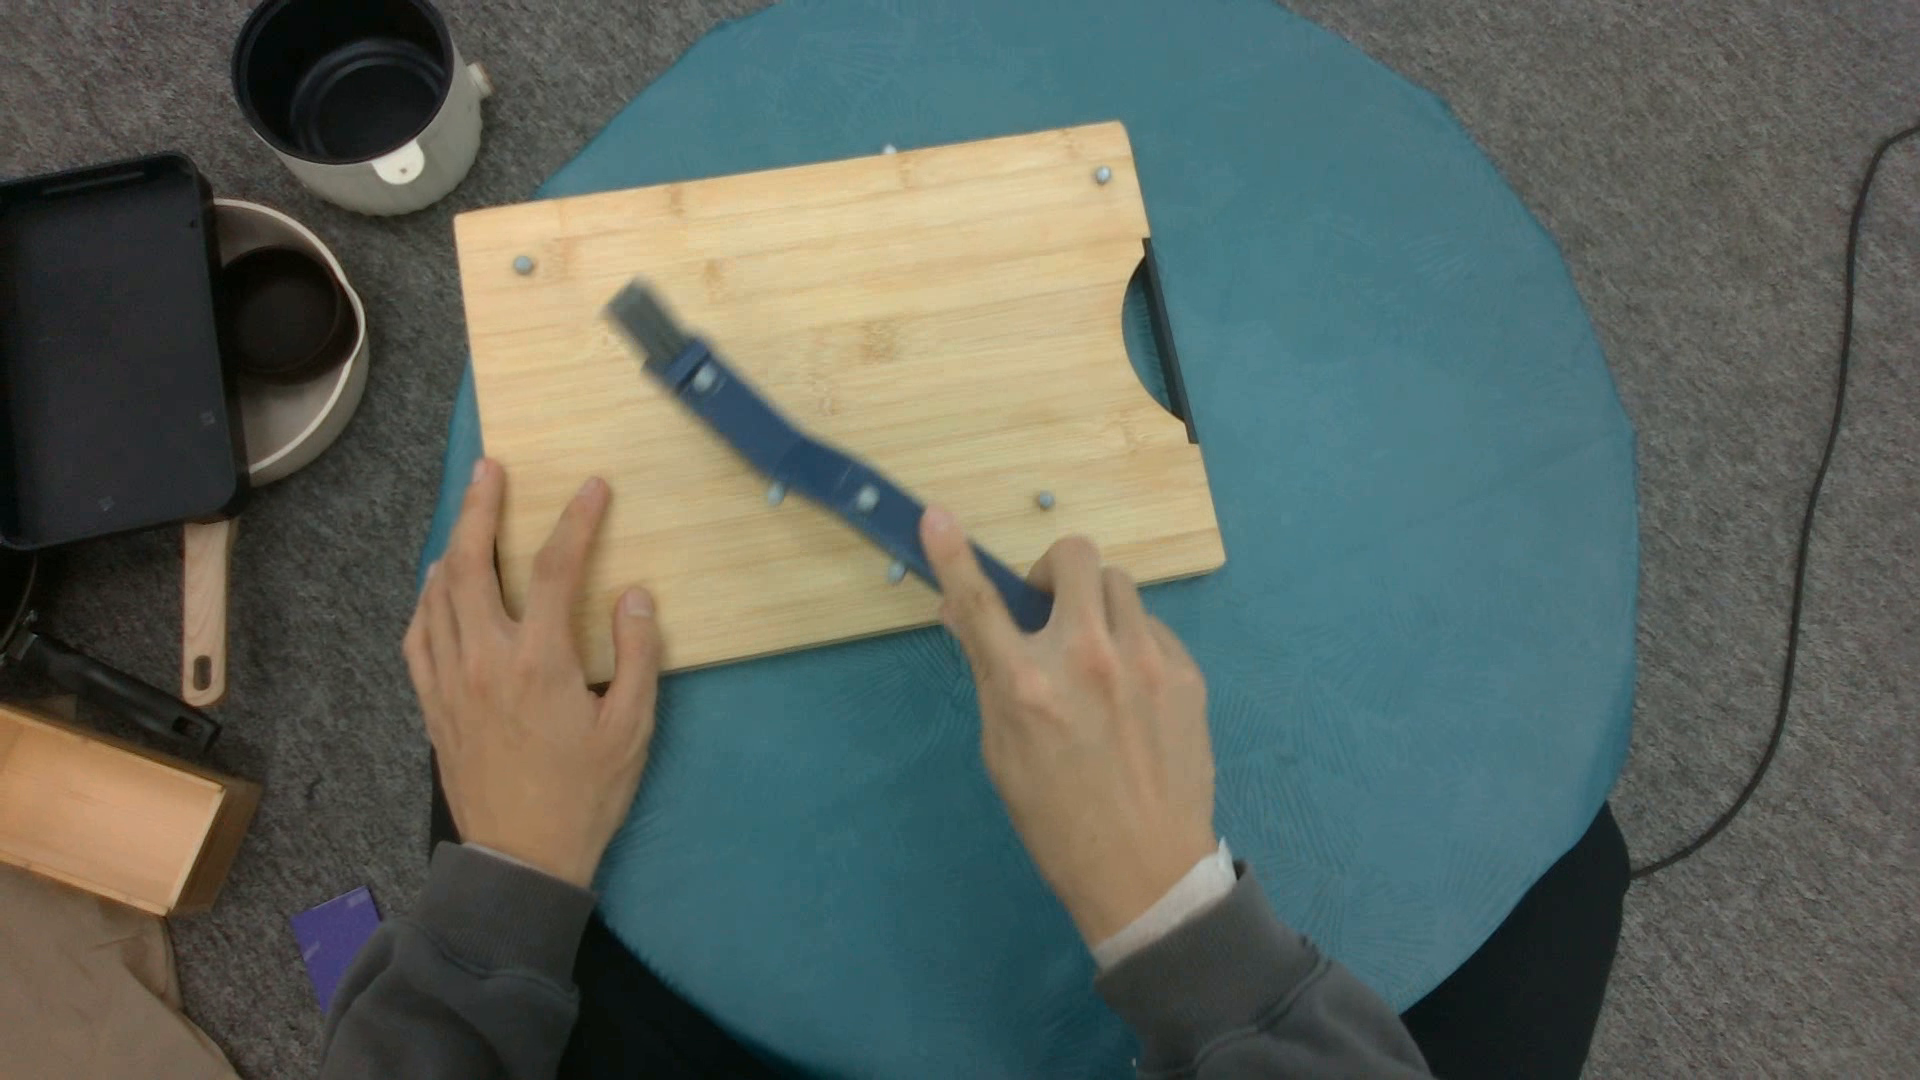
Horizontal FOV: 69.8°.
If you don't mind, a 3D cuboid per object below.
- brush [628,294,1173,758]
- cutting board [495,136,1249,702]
[{"bbox_3d":[-0.029,-0.007,0.582,0.273,0.095,0.033,33,67,19],"label":"brush"},{"bbox_3d":[-0.049,-0.068,0.697,0.349,0.023,0.251,-11,79,-6],"label":"cutting board"}]
